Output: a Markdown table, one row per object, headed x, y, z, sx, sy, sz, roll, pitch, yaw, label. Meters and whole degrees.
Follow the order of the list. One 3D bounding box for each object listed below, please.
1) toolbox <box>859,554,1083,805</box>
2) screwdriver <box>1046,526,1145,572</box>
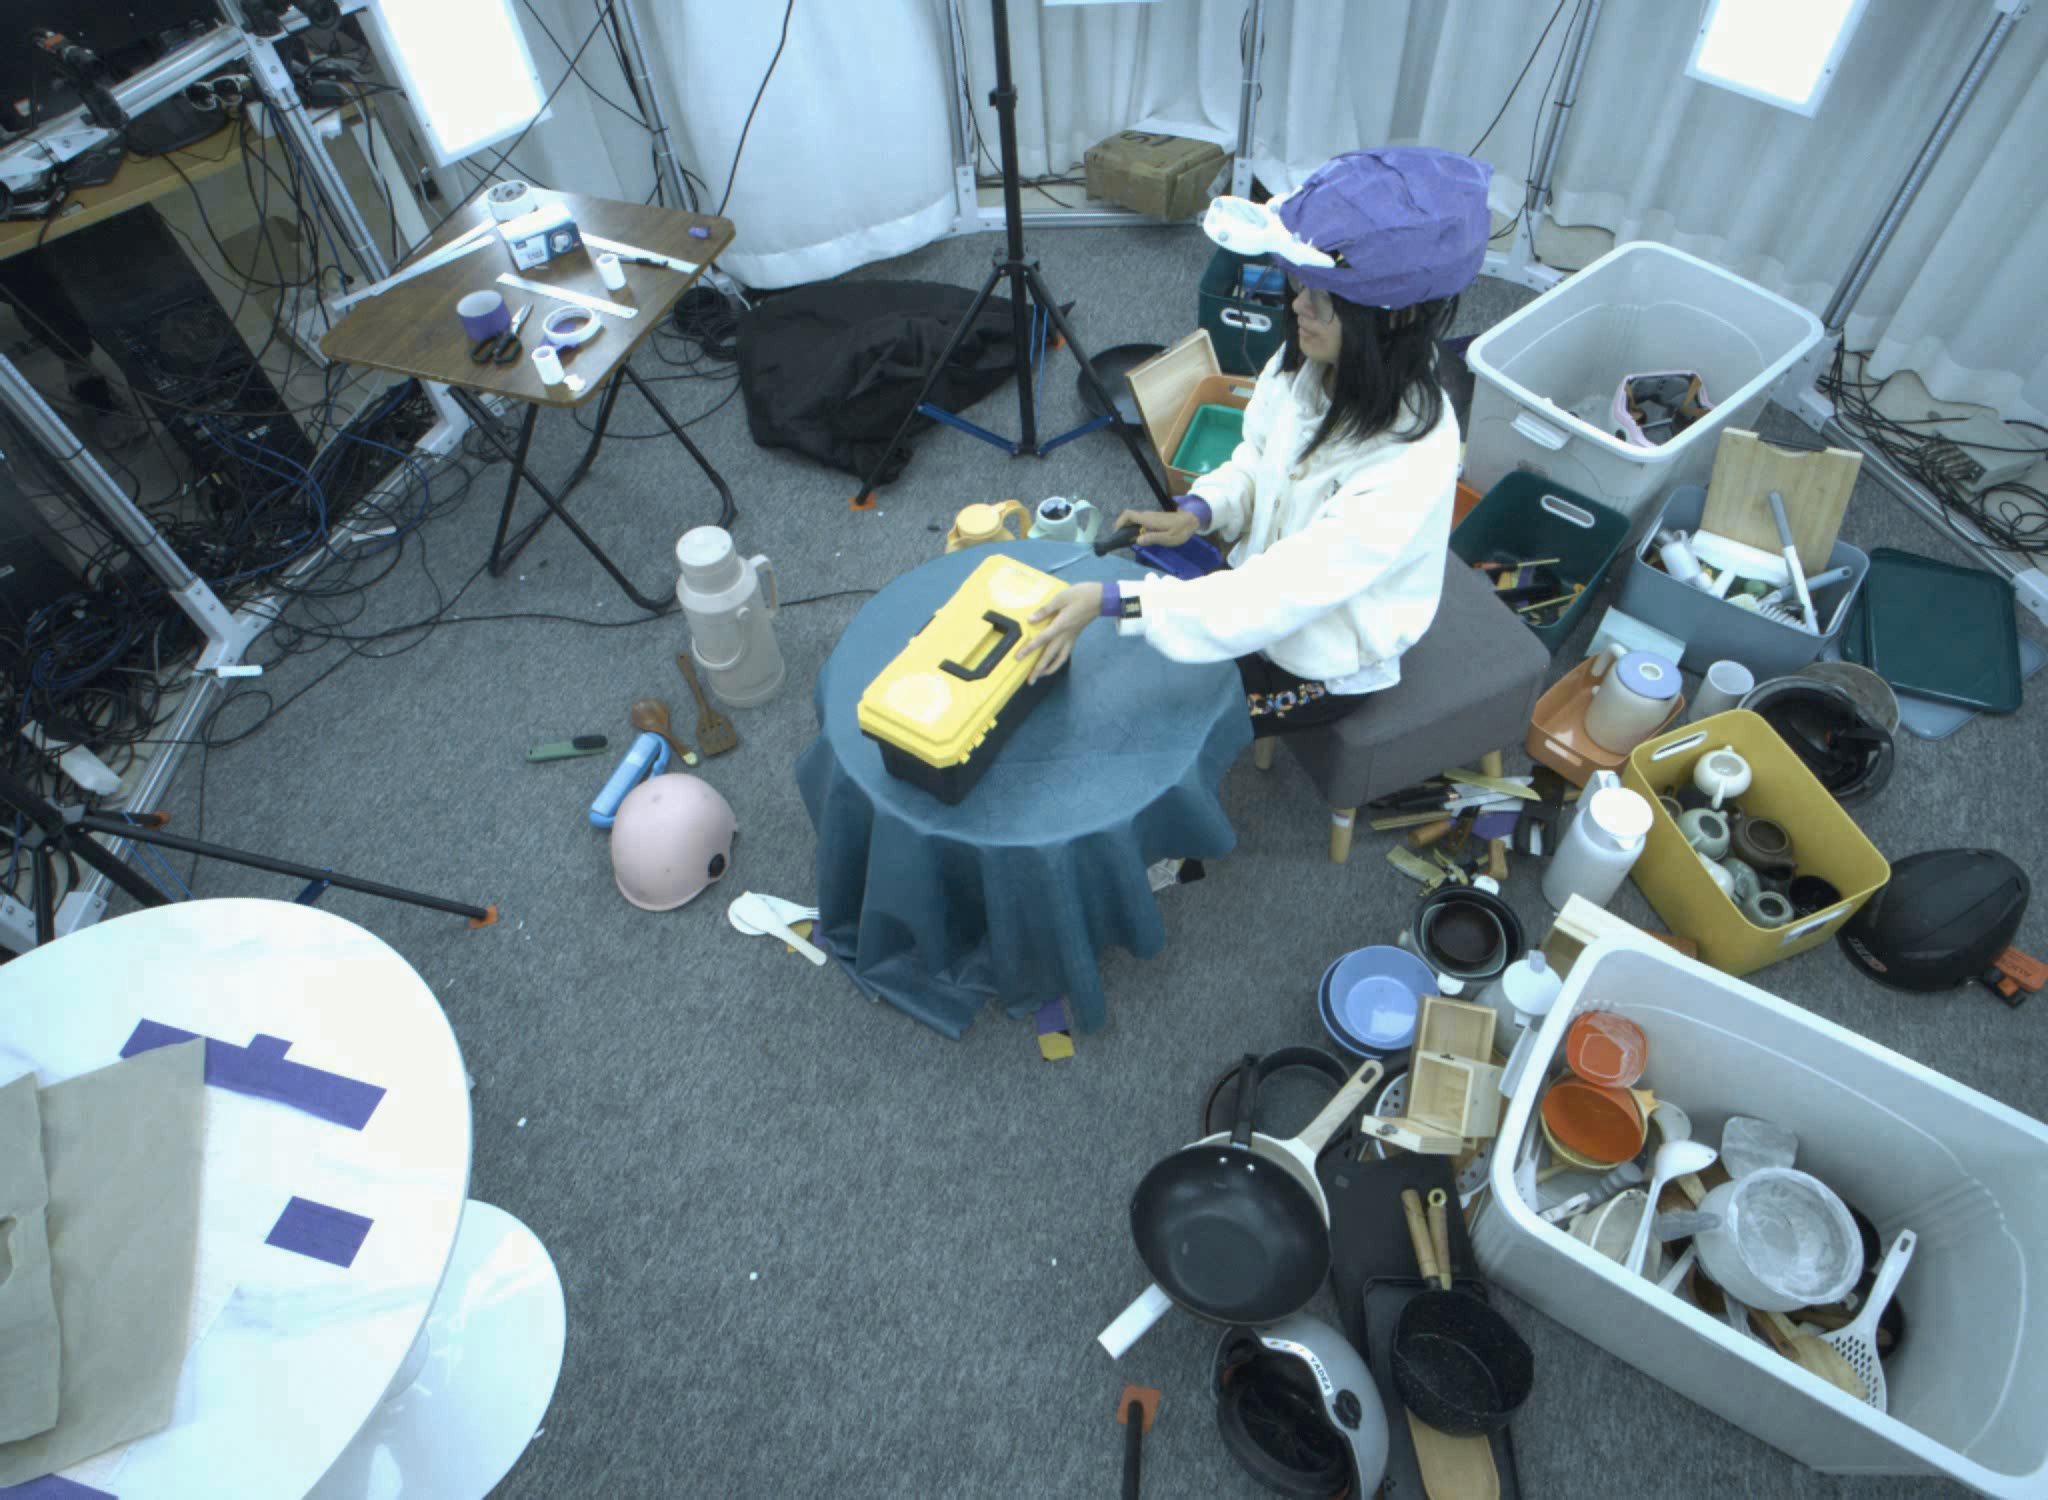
| x | y | z | sx | sy | sz | roll | pitch | yaw | label |
| --- | --- | --- | --- | --- | --- | --- | --- | --- | --- |
| -0.069 | -0.101 | 1.755 | 0.178 | 0.175 | 0.353 | 27 | 60 | 20 | toolbox |
| 0.105 | -0.294 | 1.825 | 0.200 | 0.031 | 0.031 | -30 | 58 | -32 | screwdriver |
